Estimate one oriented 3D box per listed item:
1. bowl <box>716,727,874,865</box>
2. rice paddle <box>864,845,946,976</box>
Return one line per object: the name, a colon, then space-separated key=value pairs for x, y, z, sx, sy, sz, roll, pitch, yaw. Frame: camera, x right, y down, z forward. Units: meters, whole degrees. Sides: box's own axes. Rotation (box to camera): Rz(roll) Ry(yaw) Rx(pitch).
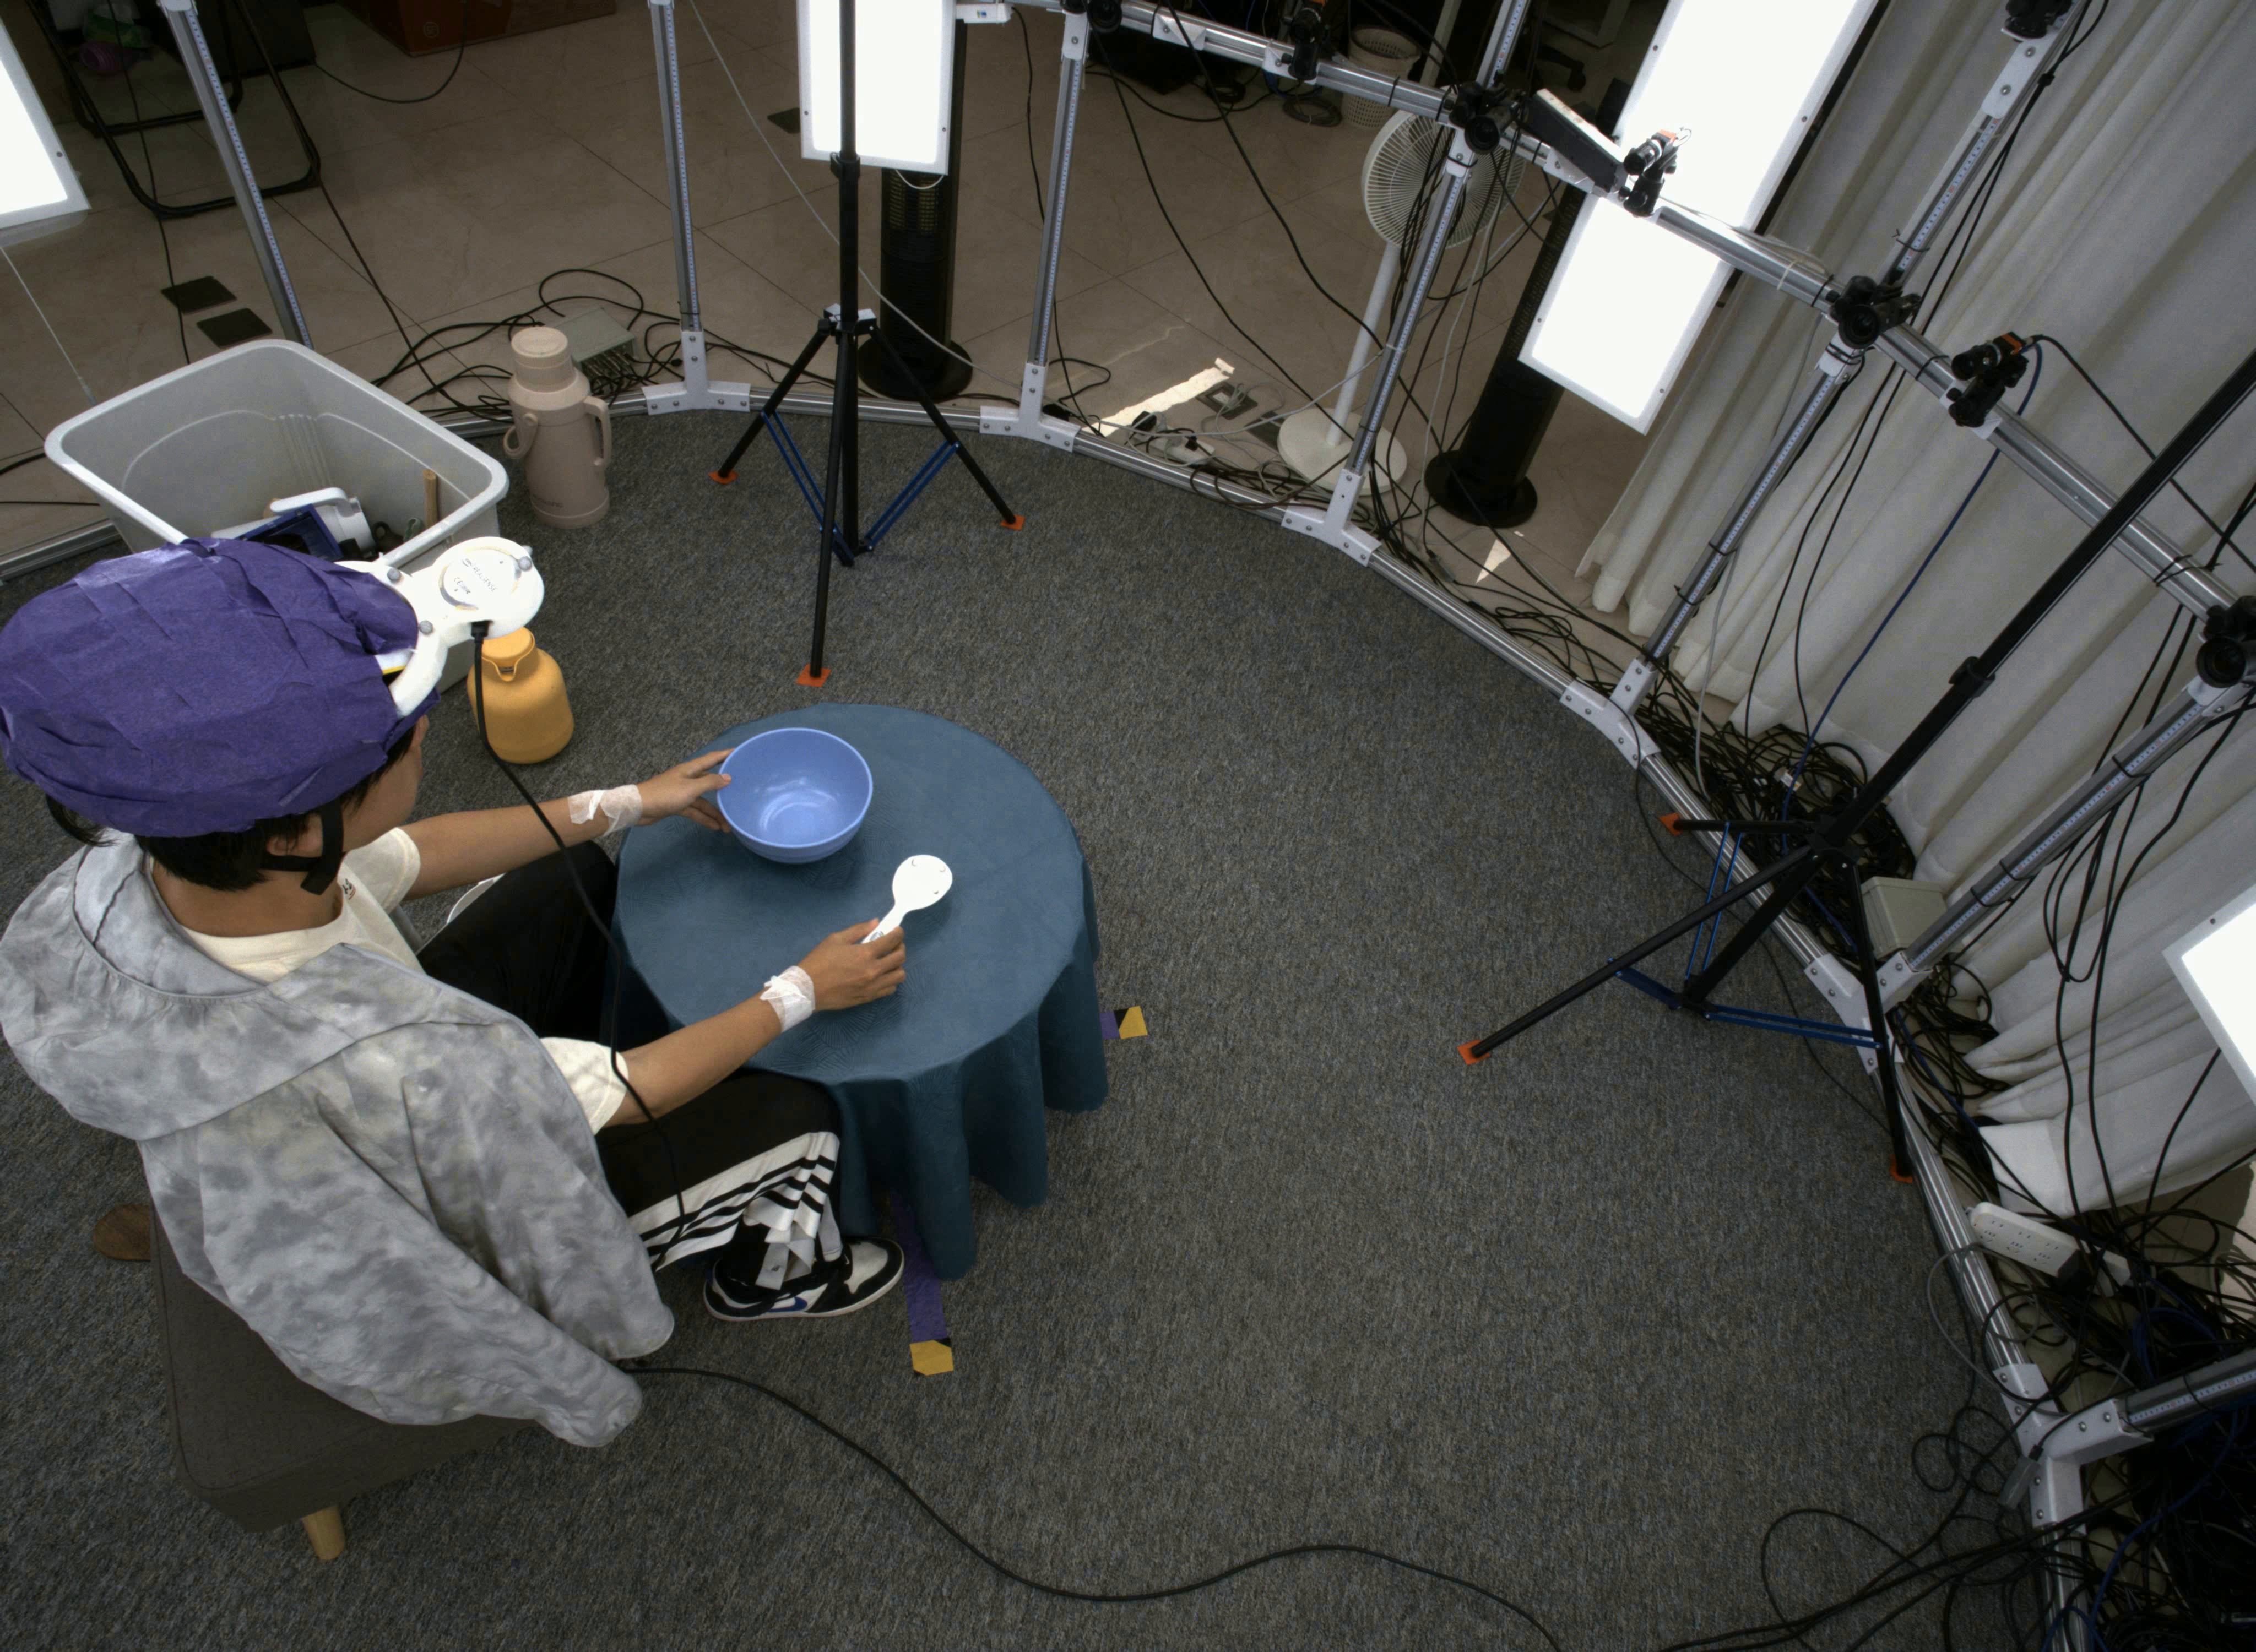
bowl: x=-0.430 y=-0.024 z=1.680 sx=0.196 sy=0.097 sz=0.193 roll=8 pitch=52 yaw=-9
rice paddle: x=-0.282 y=0.096 z=1.629 sx=0.068 sy=0.030 sz=0.202 roll=12 pitch=49 yaw=5
